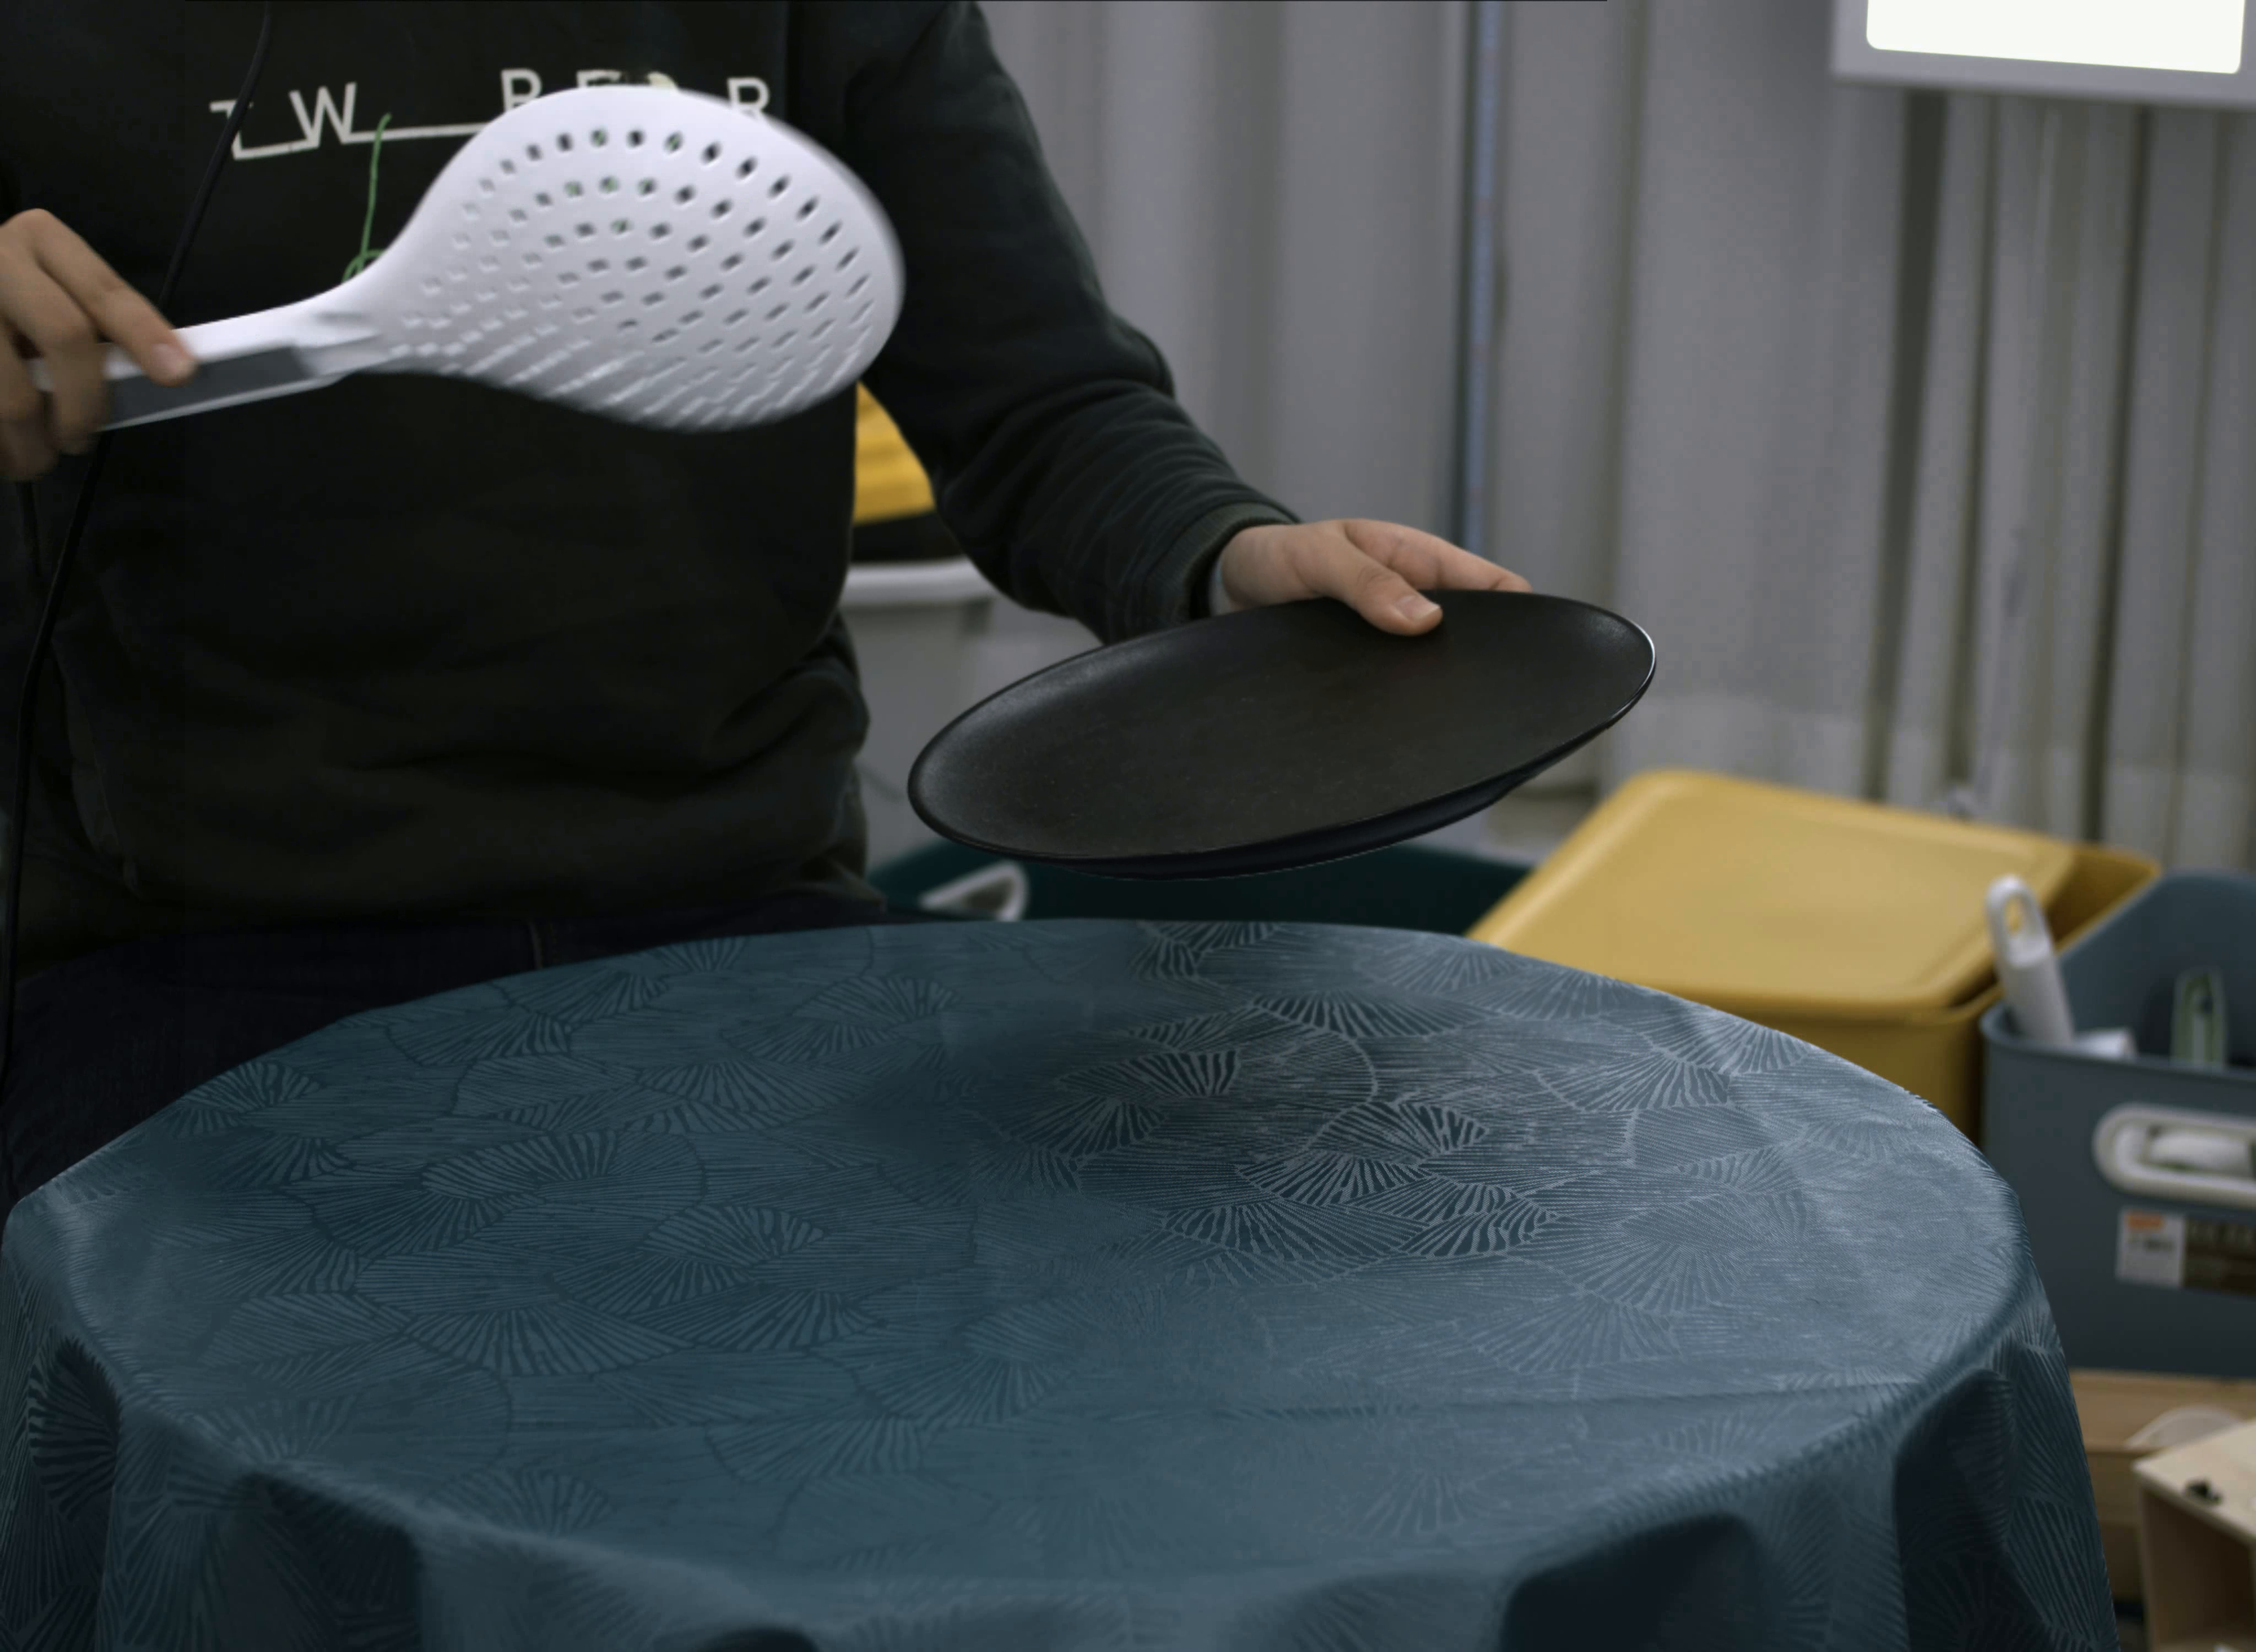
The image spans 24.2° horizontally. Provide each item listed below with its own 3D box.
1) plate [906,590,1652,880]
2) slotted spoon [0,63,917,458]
[{"bbox_3d":[0.050,-0.026,1.692,0.243,0.023,0.243,-10,19,4],"label":"plate"},{"bbox_3d":[-0.226,-0.152,1.577,0.346,0.138,0.045,-6,53,27],"label":"slotted spoon"}]
